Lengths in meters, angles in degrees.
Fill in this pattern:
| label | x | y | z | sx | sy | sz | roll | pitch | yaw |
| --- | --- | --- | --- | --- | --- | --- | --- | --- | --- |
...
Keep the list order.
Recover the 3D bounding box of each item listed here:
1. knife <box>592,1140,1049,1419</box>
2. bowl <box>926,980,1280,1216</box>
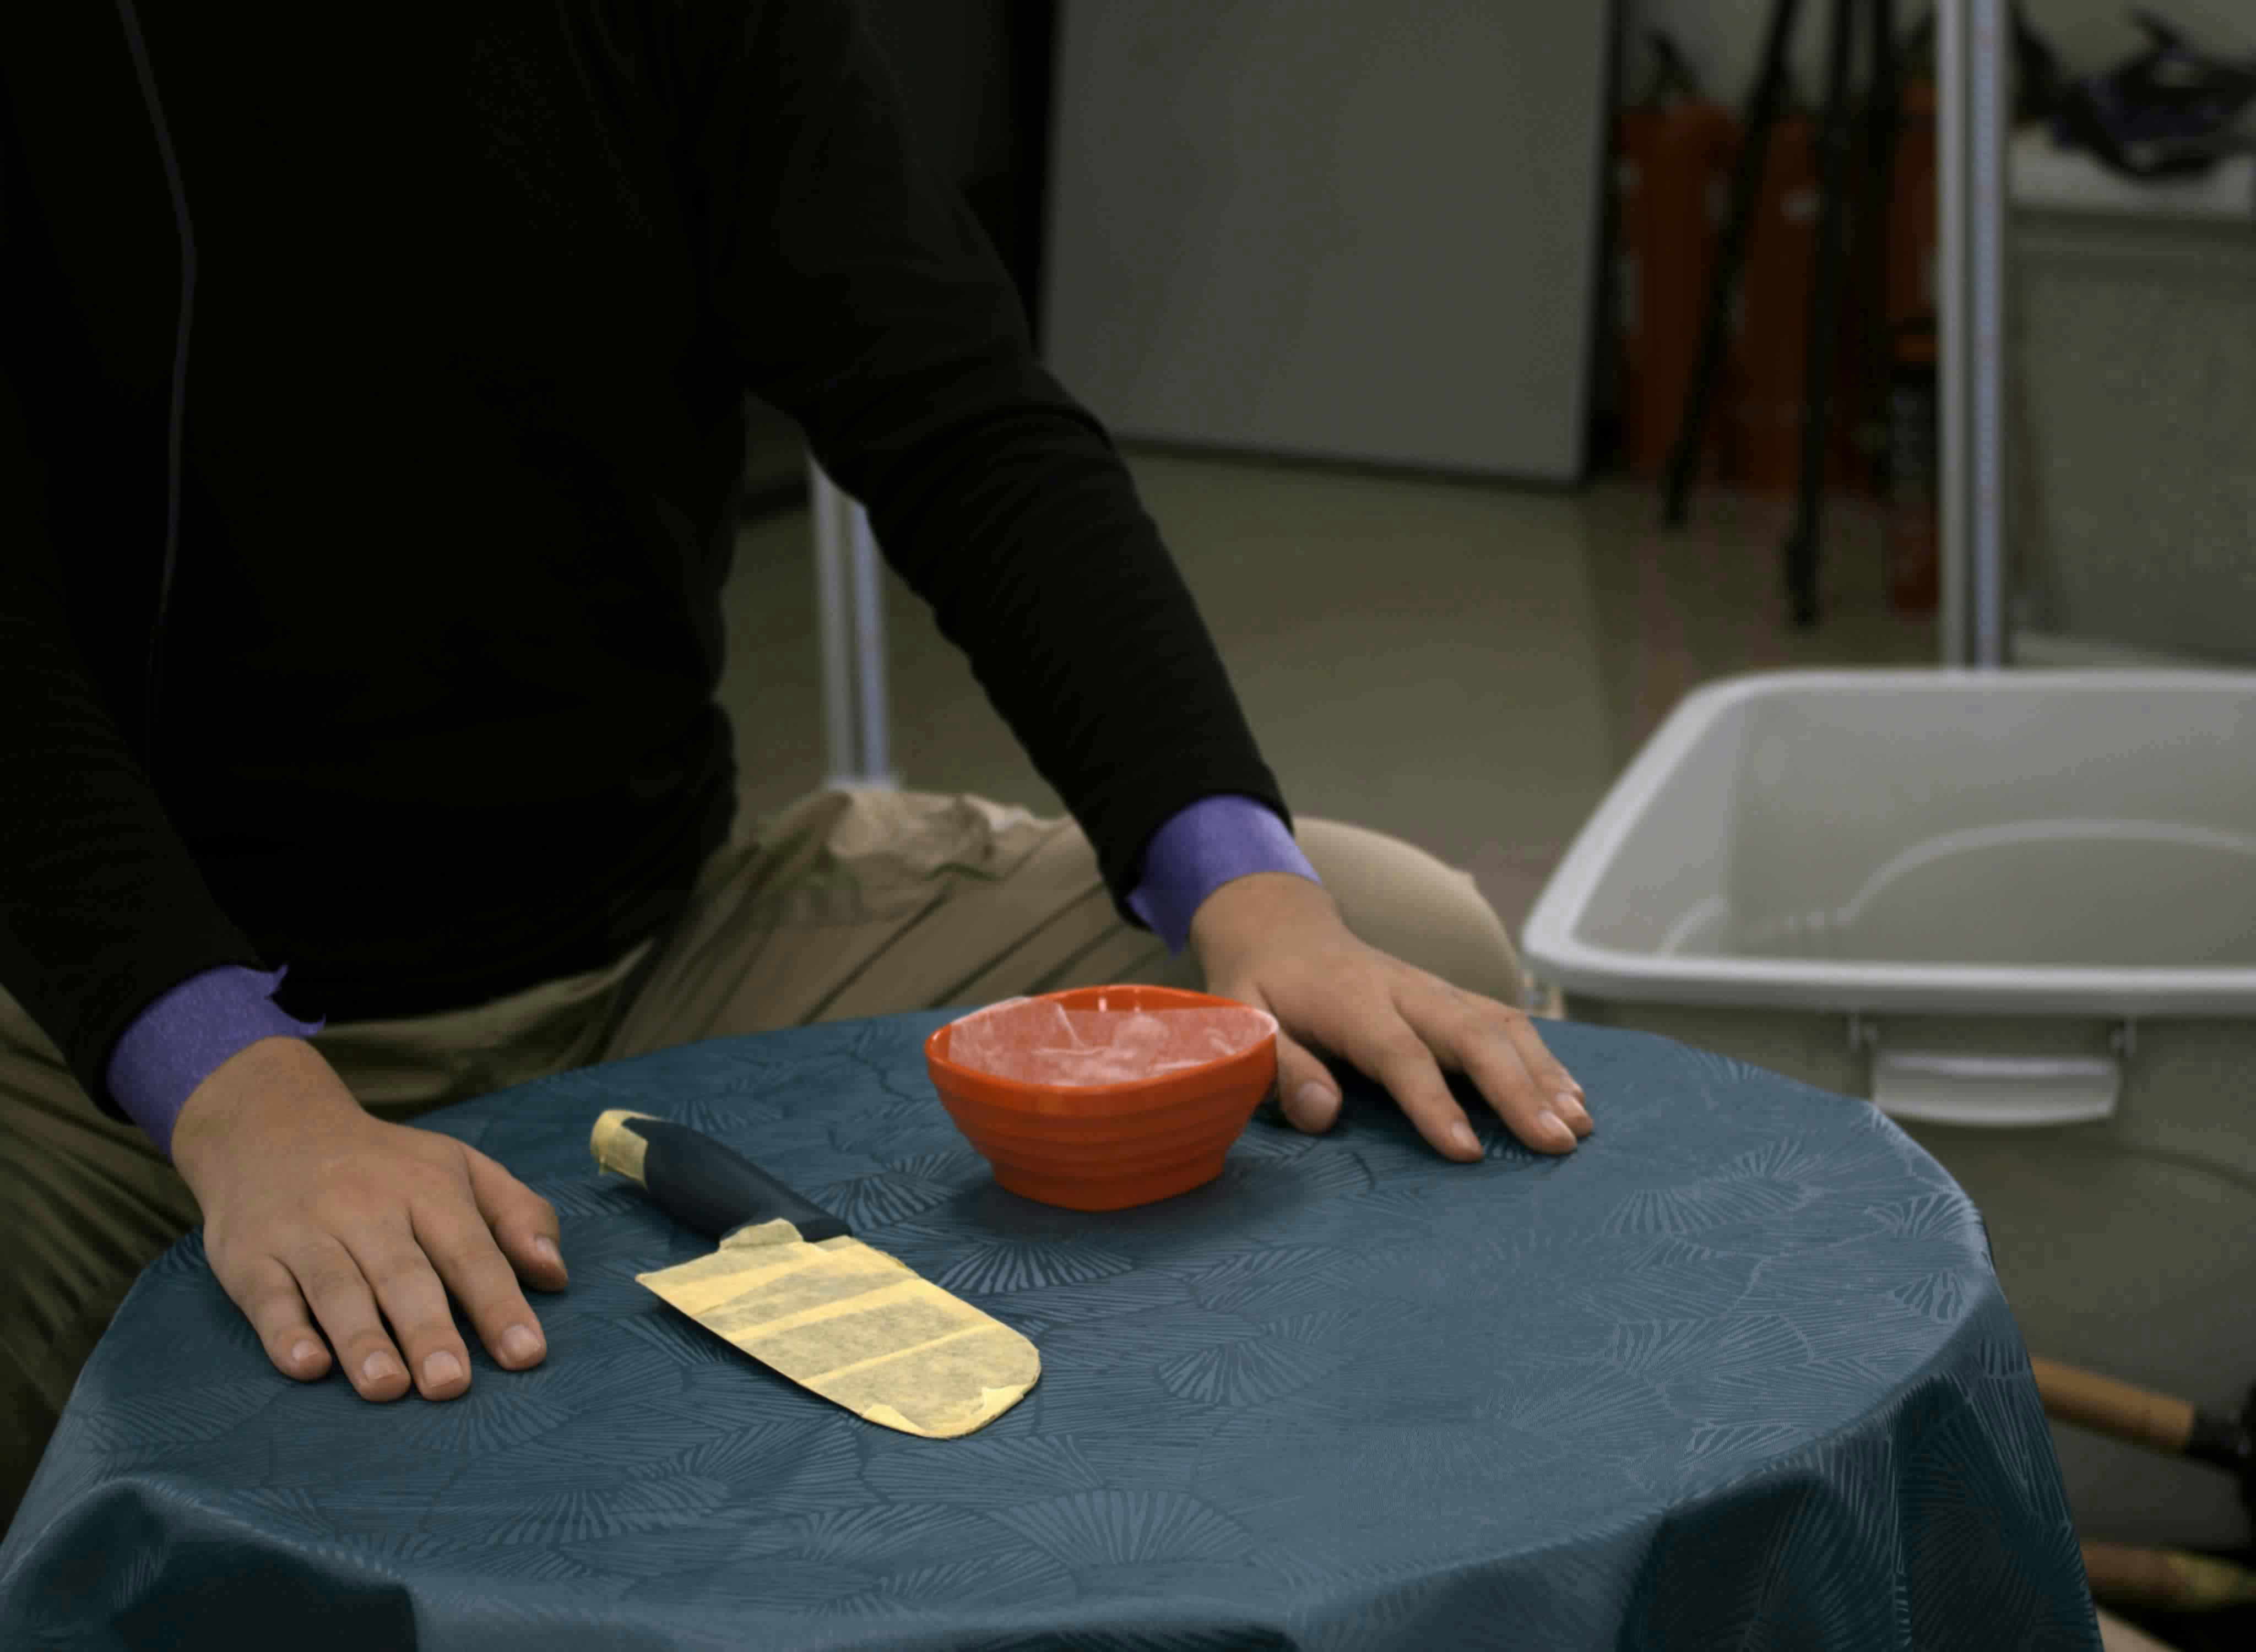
| label | x | y | z | sx | sy | sz | roll | pitch | yaw |
| --- | --- | --- | --- | --- | --- | --- | --- | --- | --- |
| knife | -0.109 | 0.143 | 1.691 | 0.079 | 0.027 | 0.292 | -10 | 16 | -28 |
| bowl | -0.007 | 0.092 | 1.785 | 0.117 | 0.052 | 0.119 | -5 | 16 | 0 |
